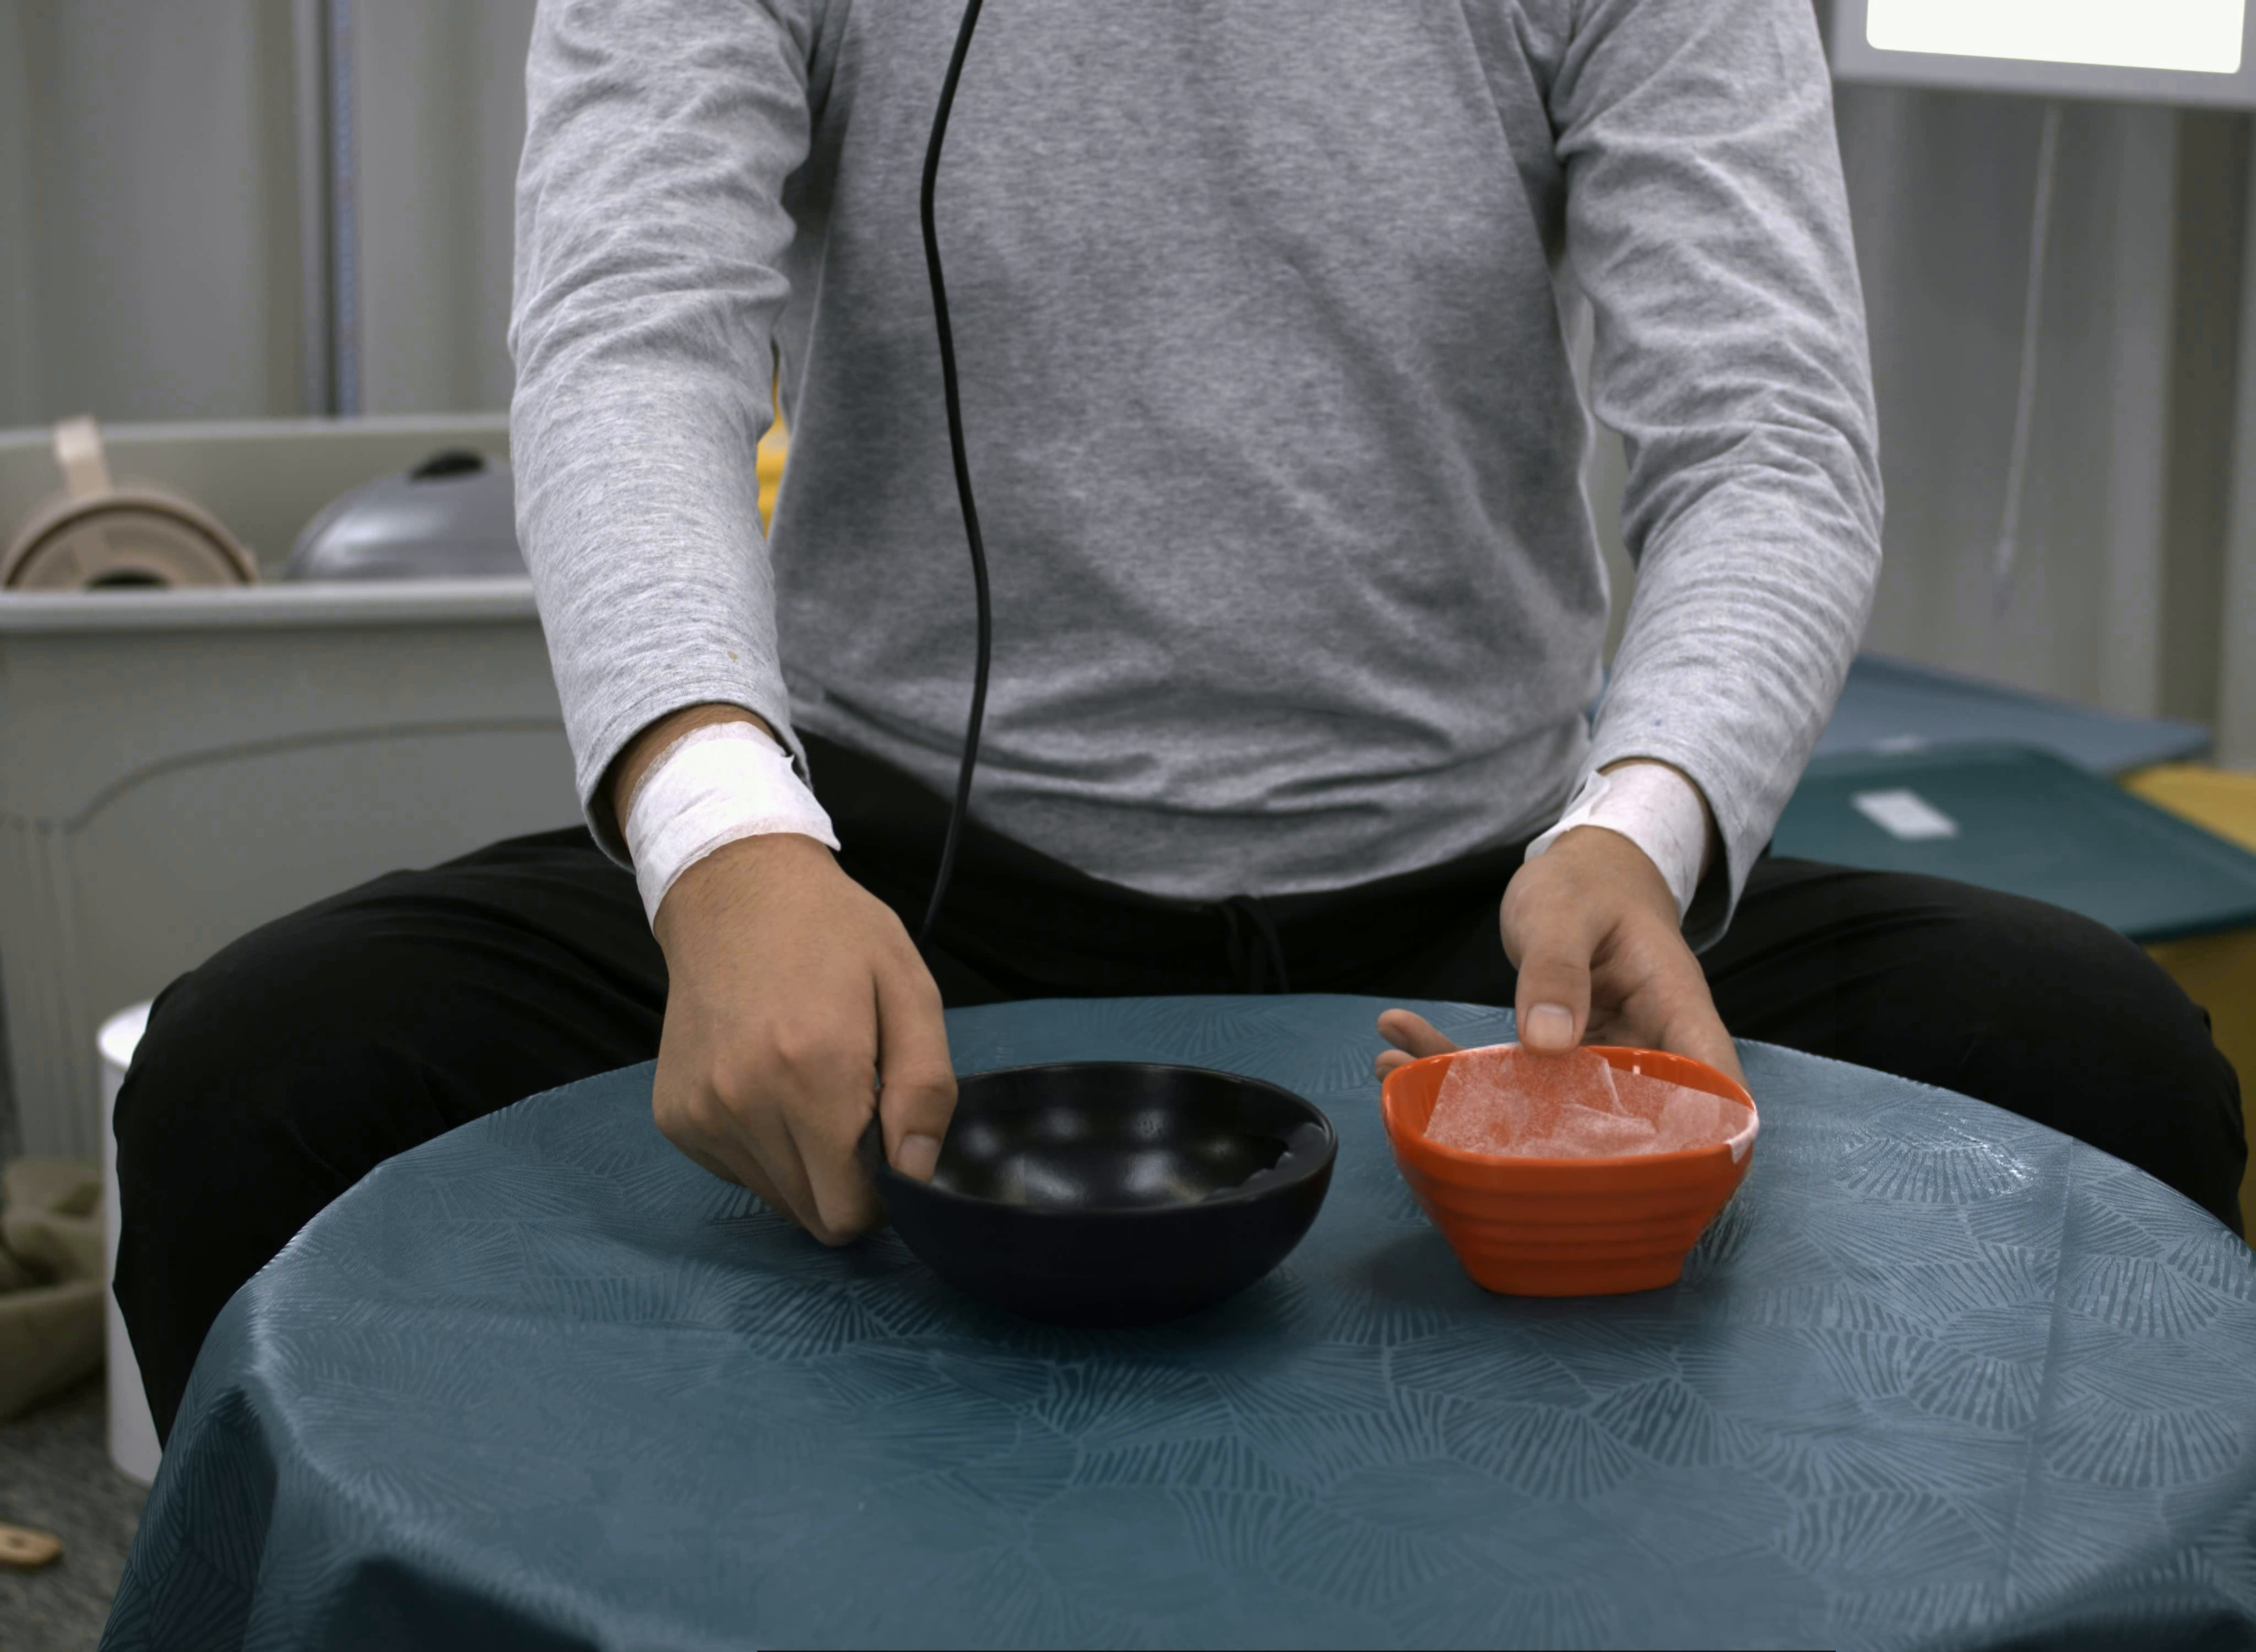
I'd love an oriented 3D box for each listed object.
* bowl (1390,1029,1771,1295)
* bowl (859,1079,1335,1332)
[{"bbox_3d":[0.133,0.102,1.562,0.118,0.052,0.118,0,19,1],"label":"bowl"},{"bbox_3d":[-0.009,0.114,1.535,0.139,0.050,0.139,2,12,0],"label":"bowl"}]
